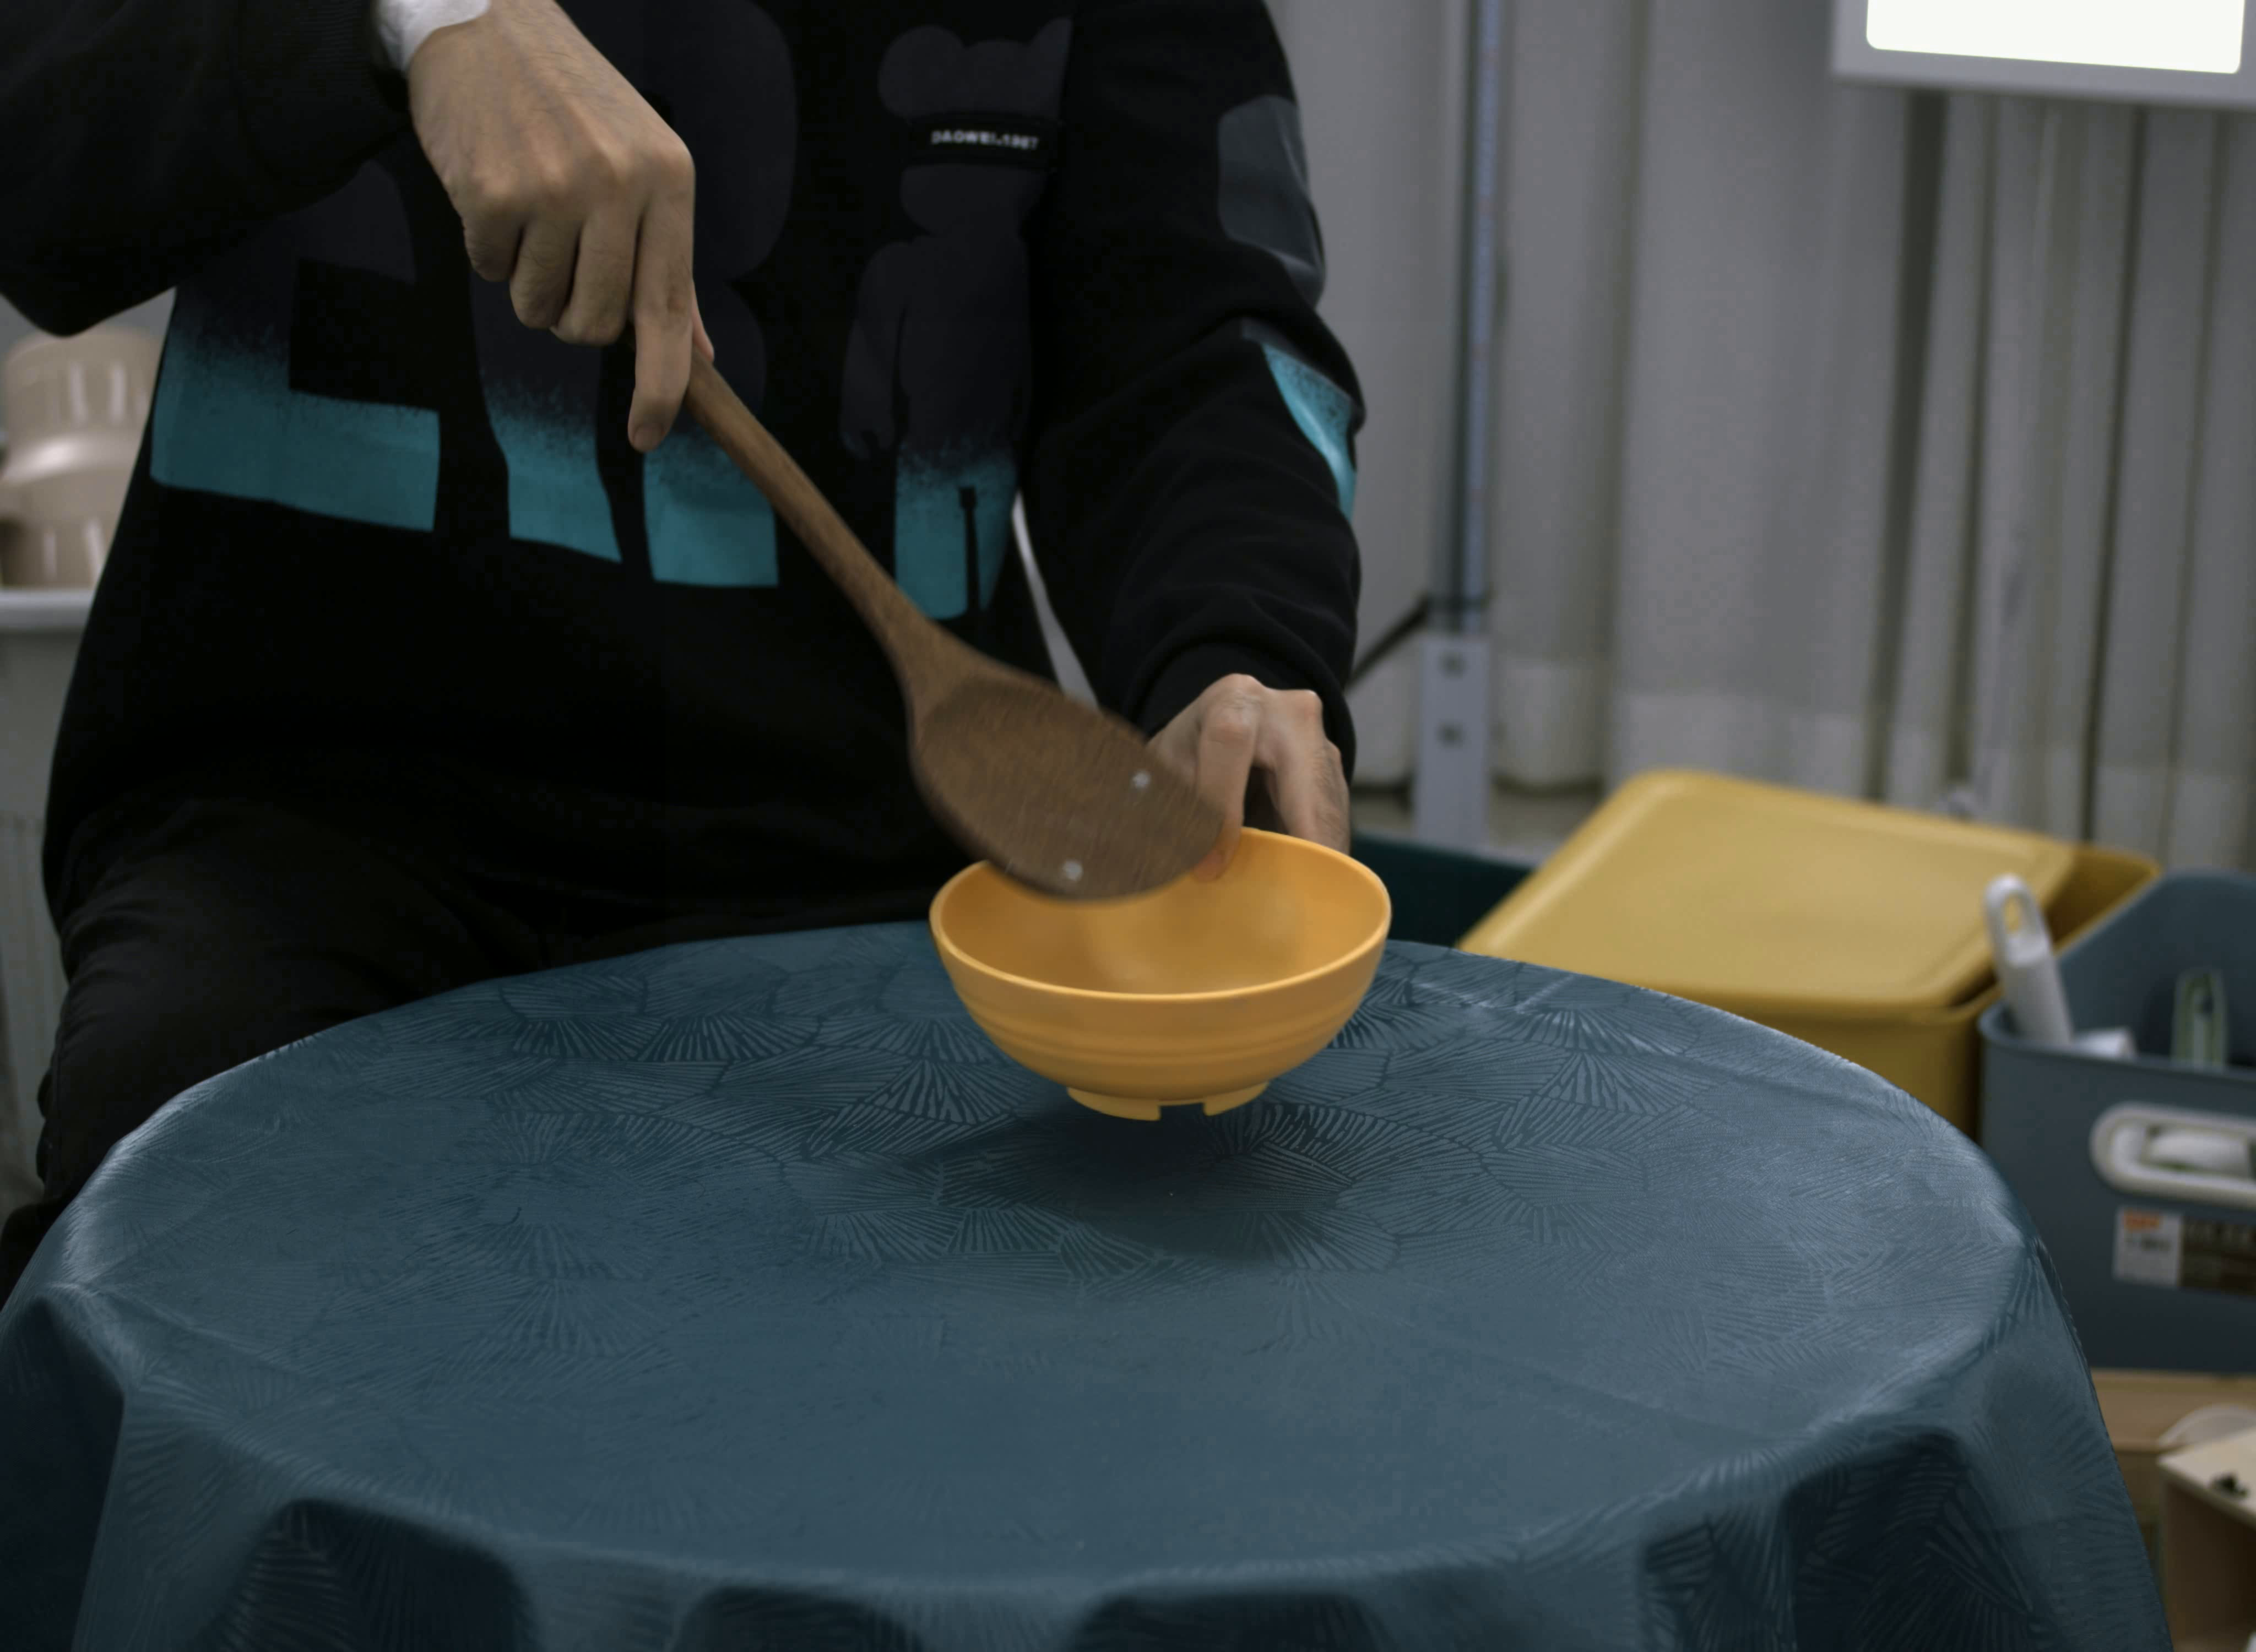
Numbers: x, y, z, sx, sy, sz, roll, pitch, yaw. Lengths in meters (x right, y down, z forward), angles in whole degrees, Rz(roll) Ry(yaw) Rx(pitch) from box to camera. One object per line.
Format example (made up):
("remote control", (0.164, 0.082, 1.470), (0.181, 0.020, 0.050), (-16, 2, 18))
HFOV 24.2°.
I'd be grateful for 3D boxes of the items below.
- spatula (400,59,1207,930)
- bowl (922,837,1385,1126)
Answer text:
("spatula", (-0.115, -0.112, 1.678), (0.096, 0.016, 0.383), (-23, 68, -48))
("bowl", (0.007, 0.054, 1.649), (0.145, 0.060, 0.144), (1, 20, 0))
